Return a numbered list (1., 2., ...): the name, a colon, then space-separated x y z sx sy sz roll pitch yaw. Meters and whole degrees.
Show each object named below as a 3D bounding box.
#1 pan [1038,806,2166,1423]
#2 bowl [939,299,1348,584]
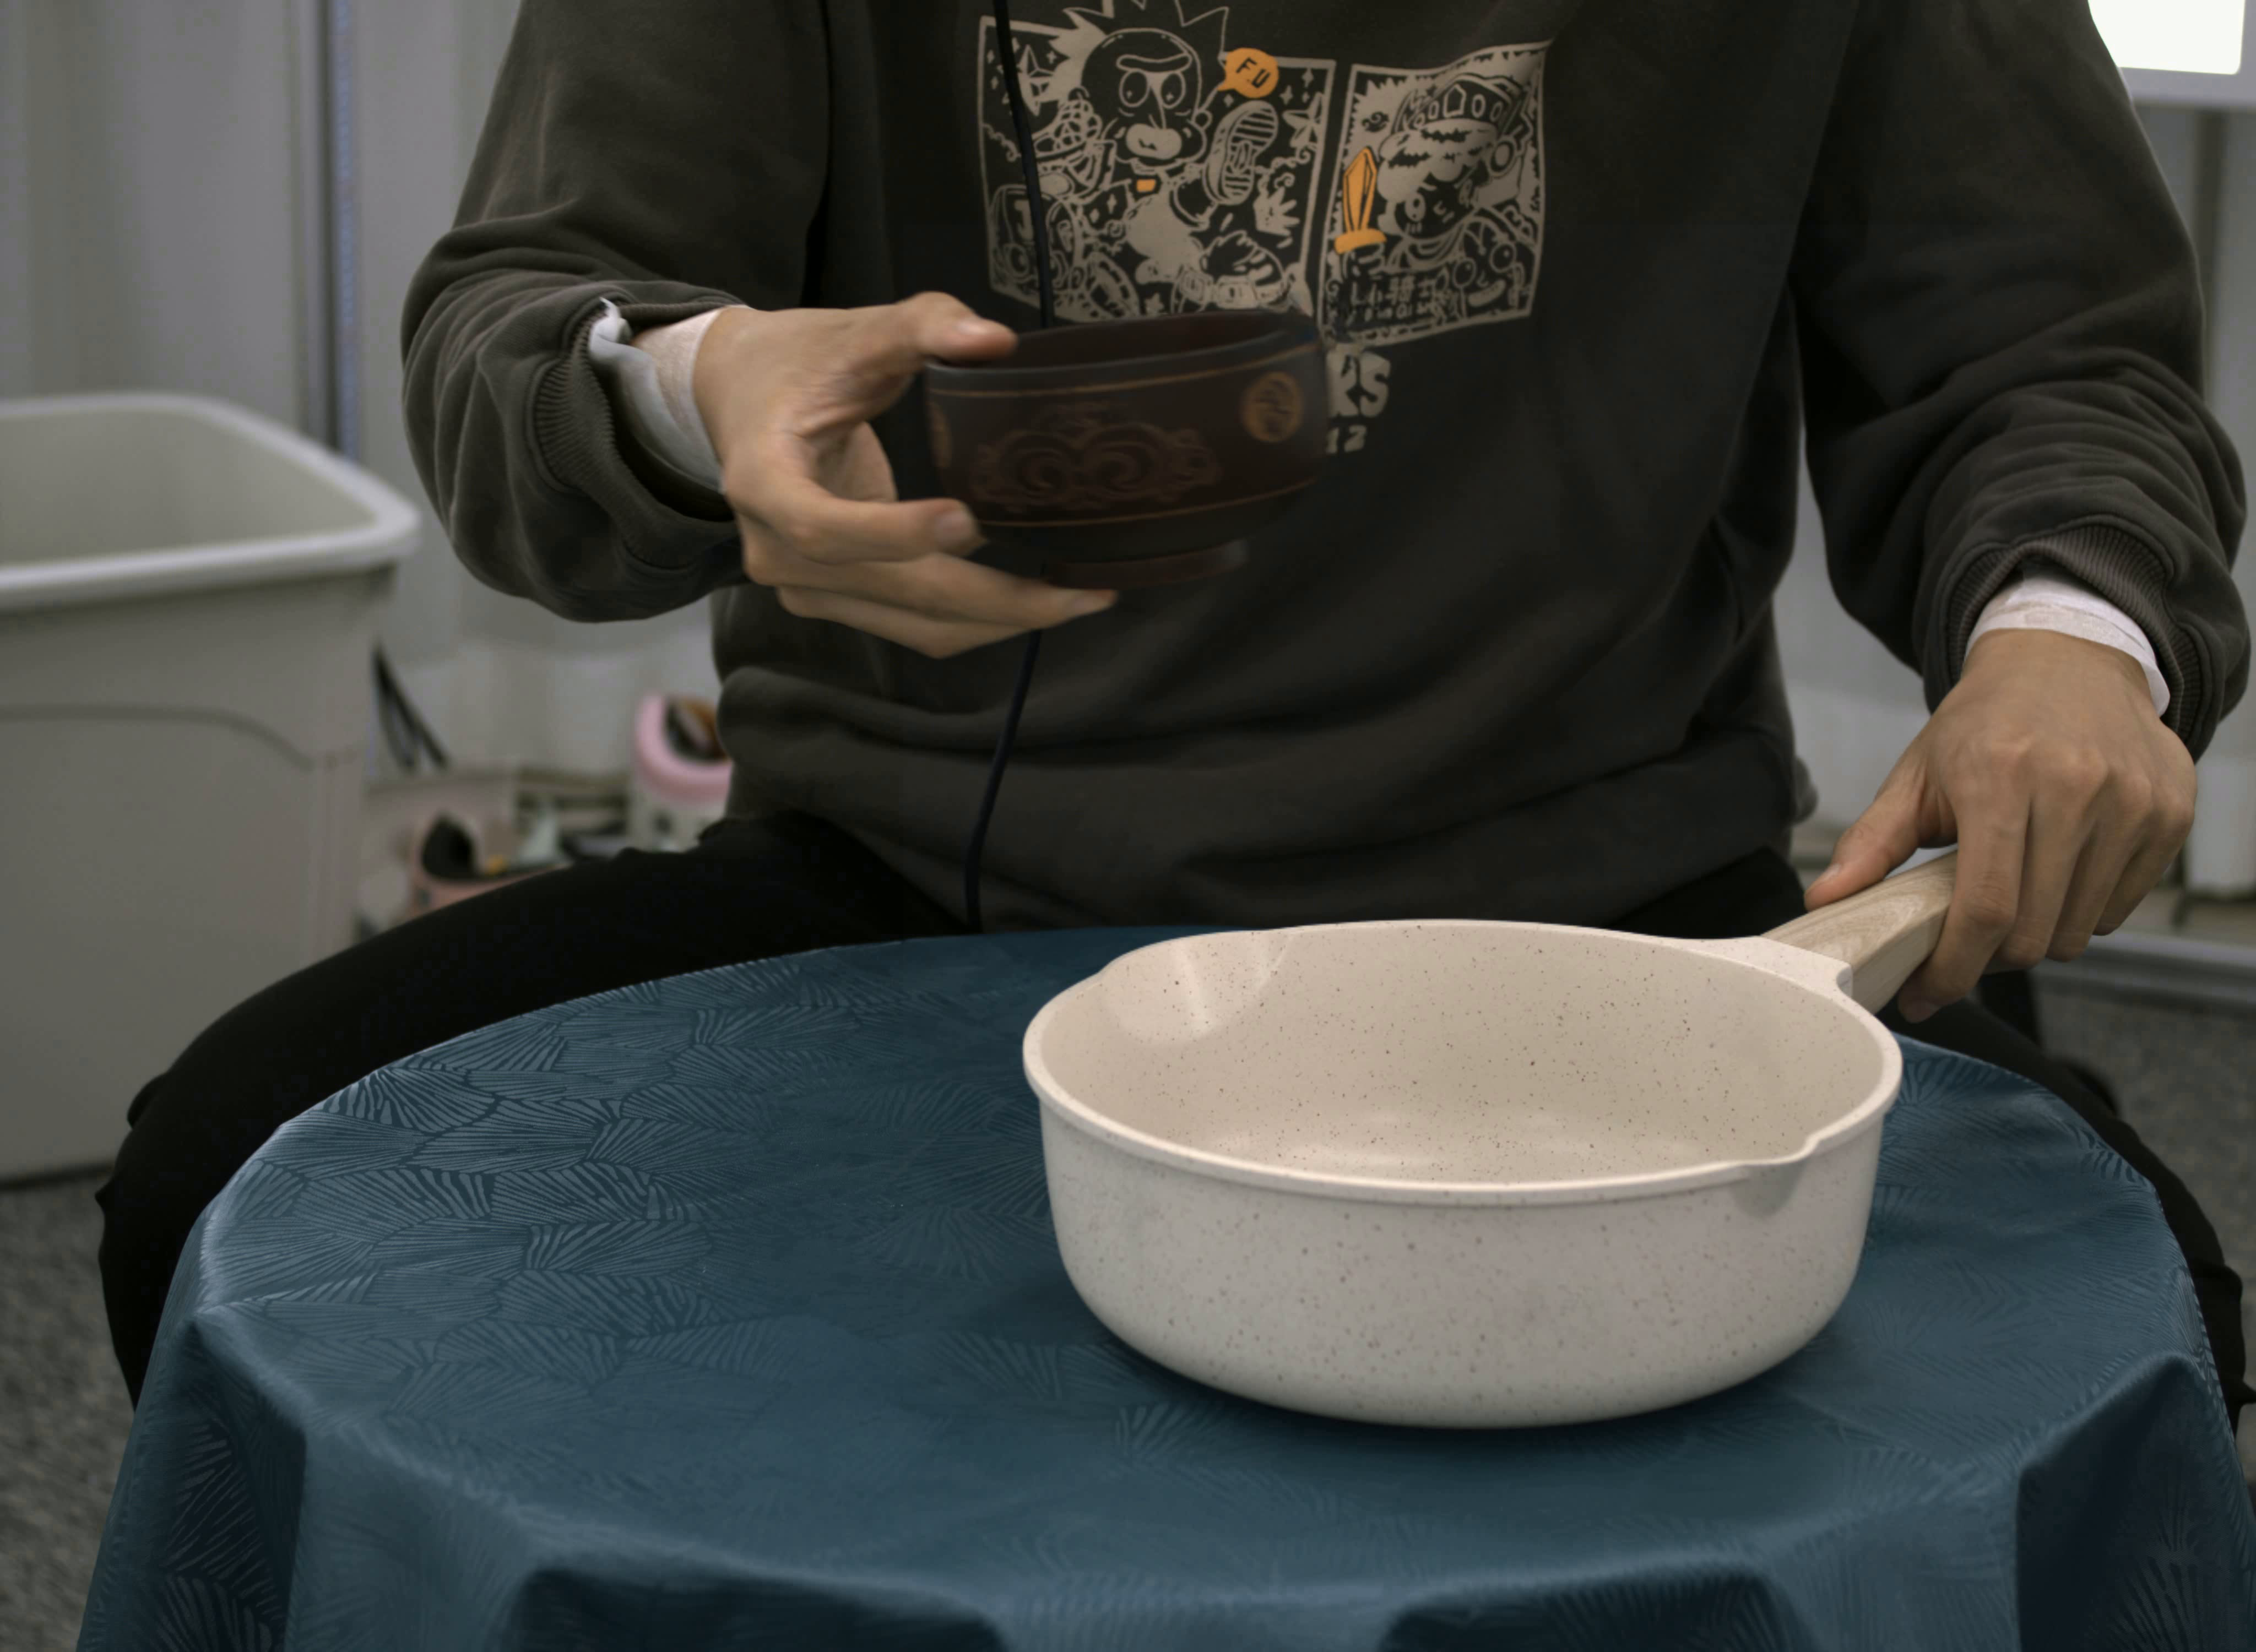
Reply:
1. pan: 0.168 0.079 1.573 0.437 0.103 0.260 -12 18 -40
2. bowl: 0.007 -0.109 1.517 0.117 0.070 0.117 -8 11 2
